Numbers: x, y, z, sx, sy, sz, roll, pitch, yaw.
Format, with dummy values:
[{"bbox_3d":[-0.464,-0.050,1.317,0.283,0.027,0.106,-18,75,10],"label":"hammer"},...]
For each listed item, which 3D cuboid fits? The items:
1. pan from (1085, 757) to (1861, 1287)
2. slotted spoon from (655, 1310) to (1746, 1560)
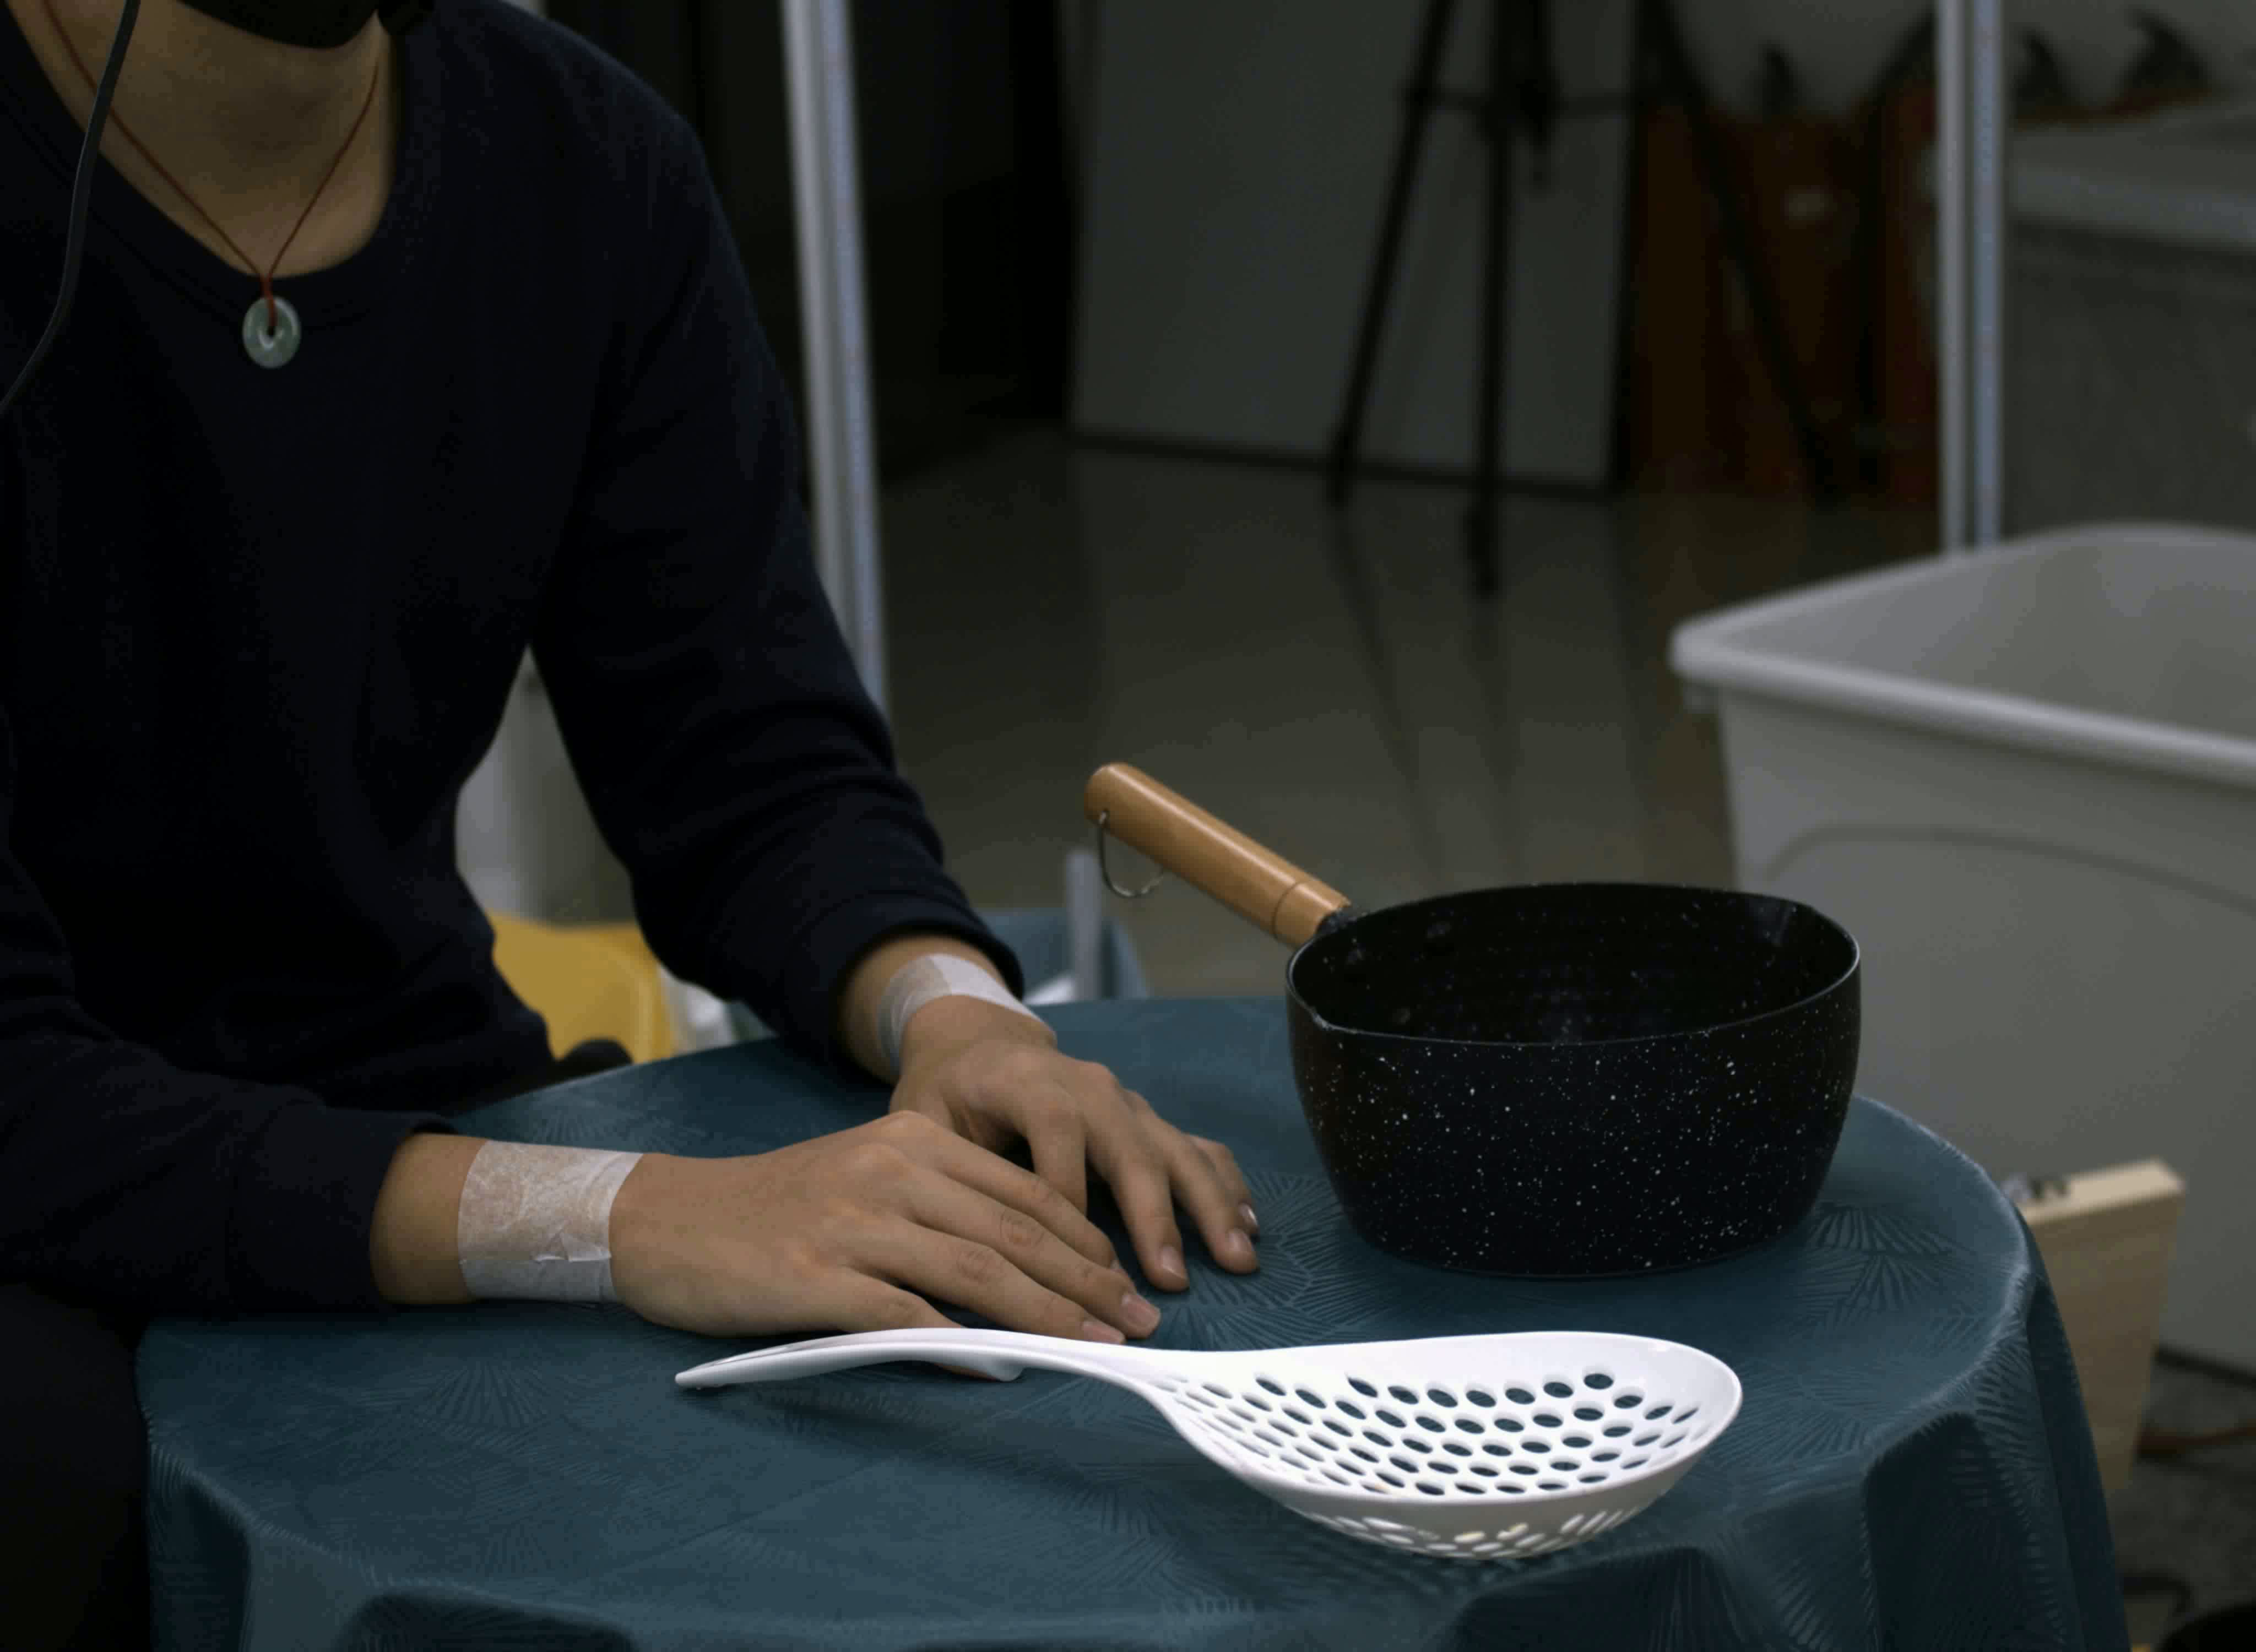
[{"bbox_3d":[0.094,0.058,1.773,0.203,0.109,0.346,-15,18,-35],"label":"pan"},{"bbox_3d":[0.009,0.162,1.510,0.350,0.051,0.134,7,19,34],"label":"slotted spoon"}]
